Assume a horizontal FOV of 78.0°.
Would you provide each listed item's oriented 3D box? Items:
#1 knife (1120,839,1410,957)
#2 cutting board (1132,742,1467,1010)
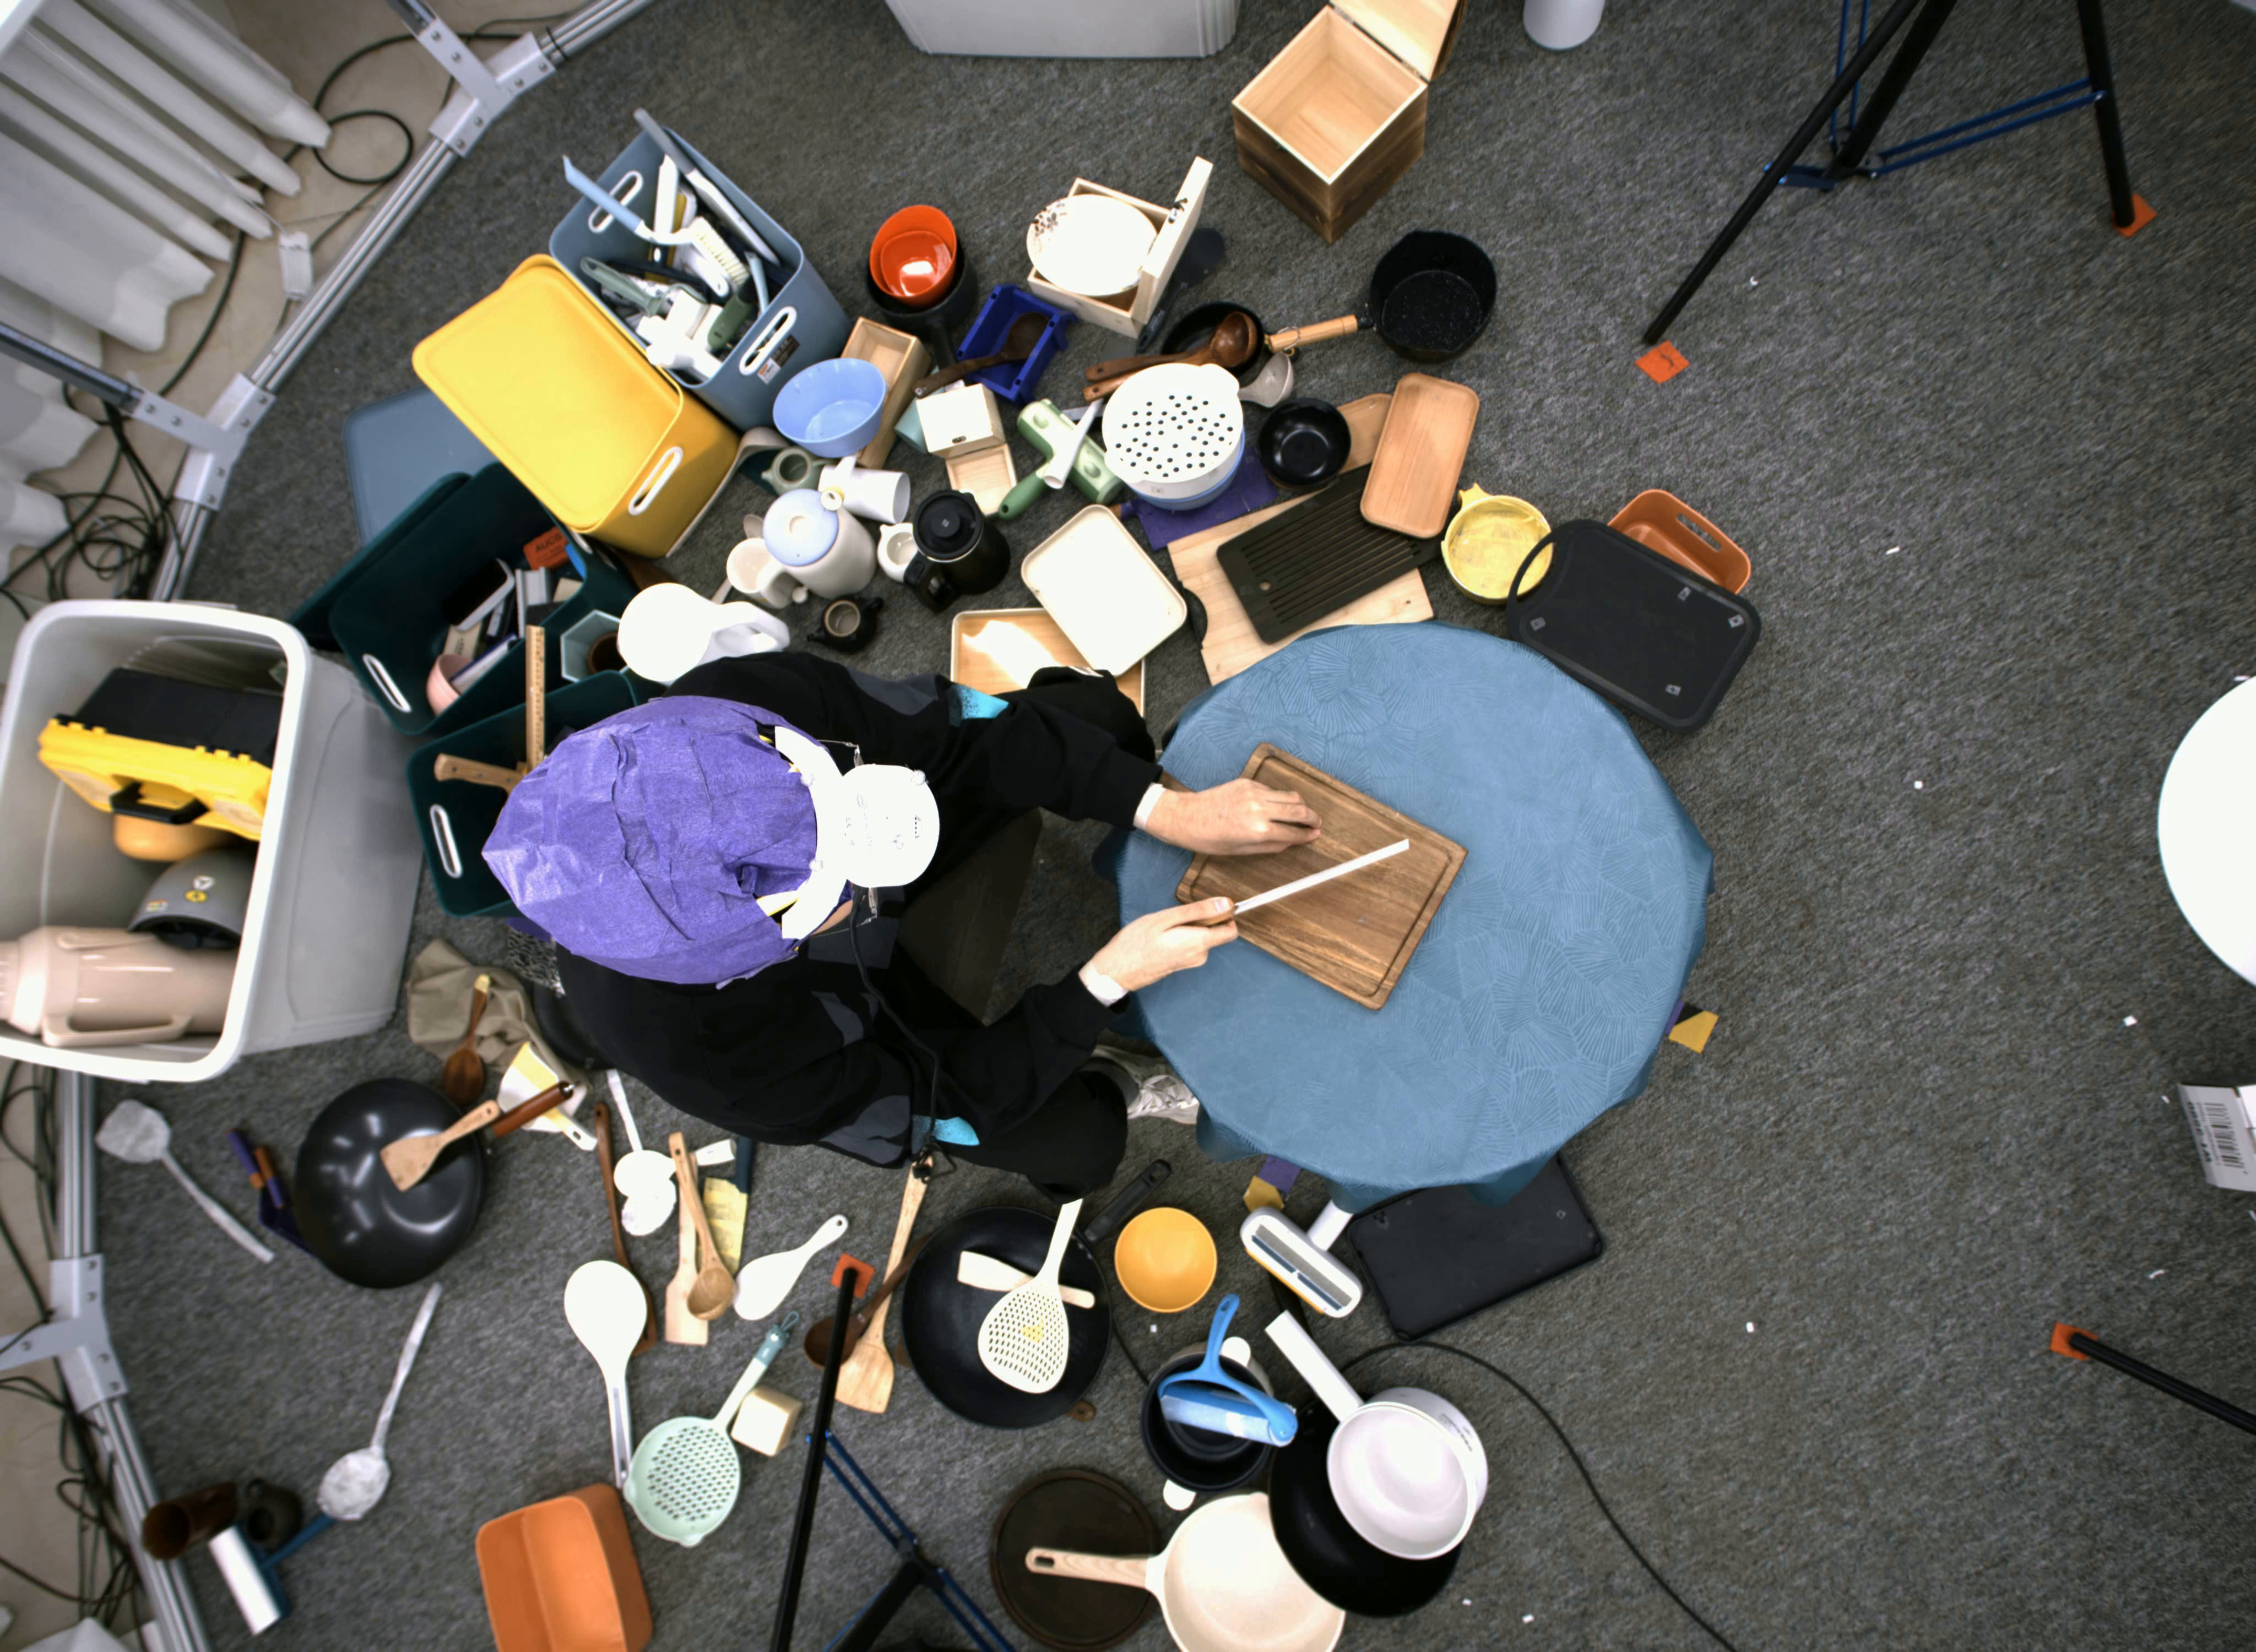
[{"bbox_3d":[0.140,0.071,1.402,0.308,0.093,0.021,-22,79,11],"label":"knife"},{"bbox_3d":[0.161,0.028,1.472,0.351,0.023,0.201,29,92,11],"label":"cutting board"}]
